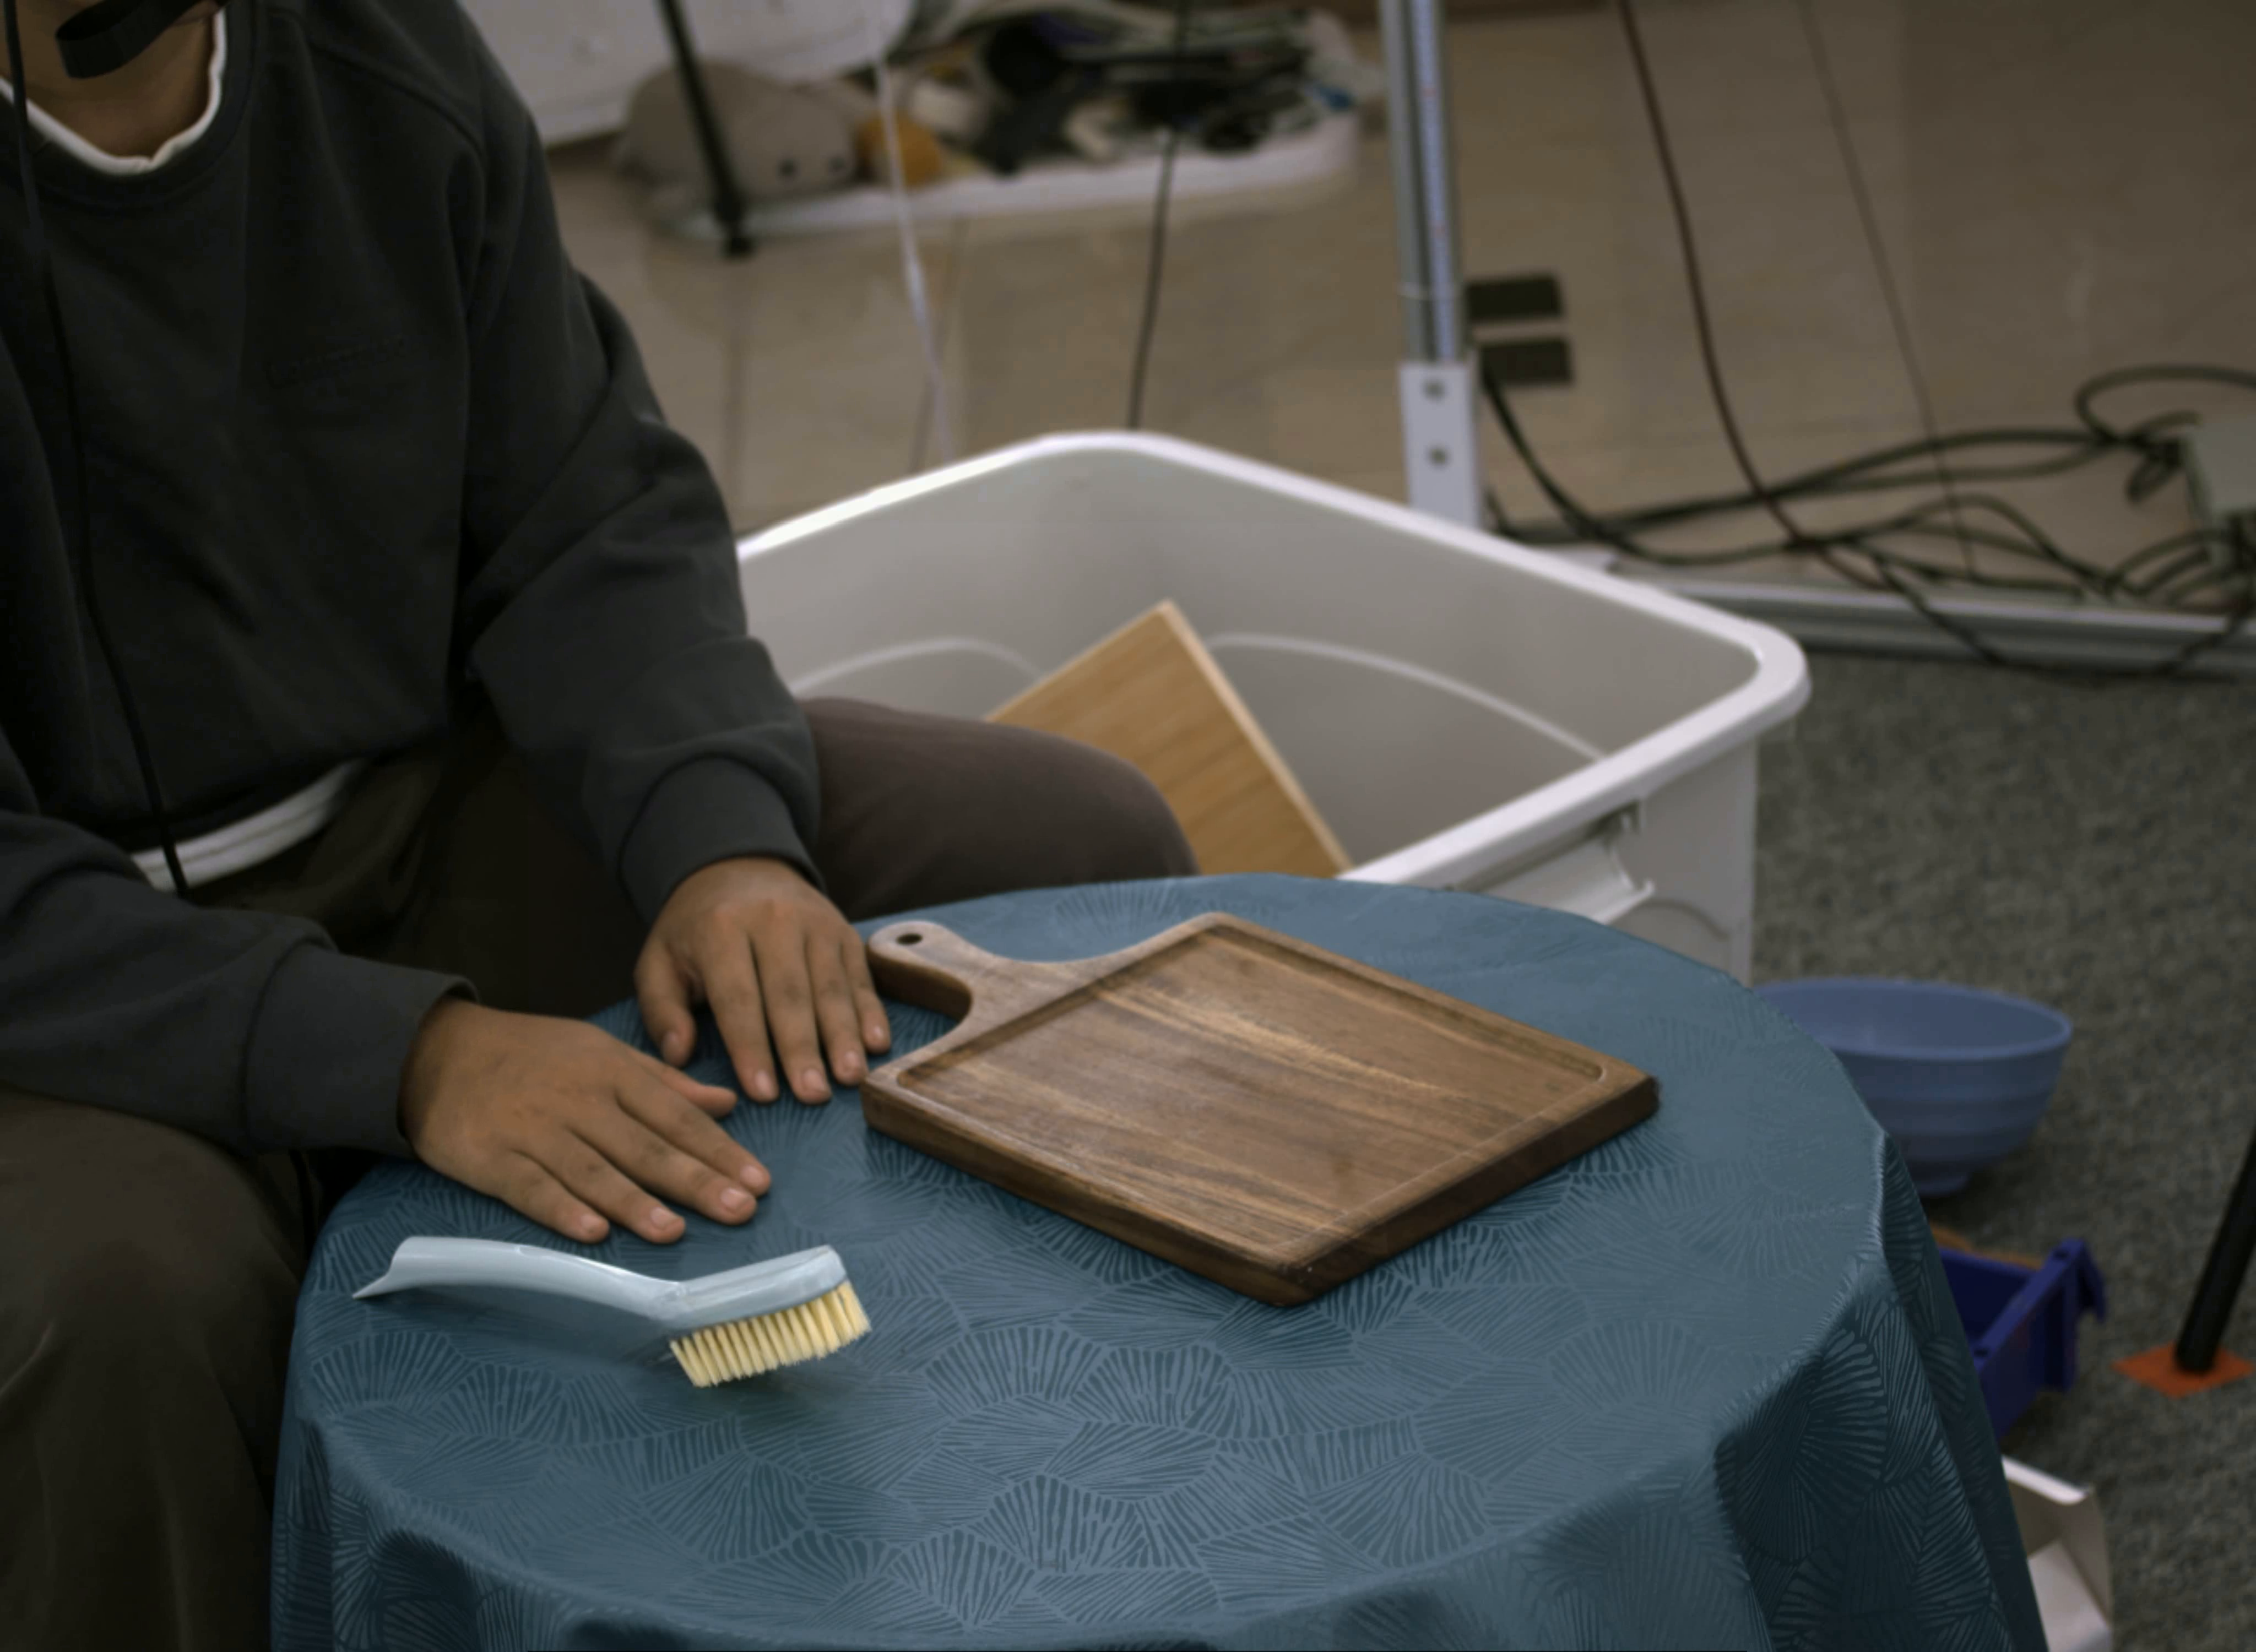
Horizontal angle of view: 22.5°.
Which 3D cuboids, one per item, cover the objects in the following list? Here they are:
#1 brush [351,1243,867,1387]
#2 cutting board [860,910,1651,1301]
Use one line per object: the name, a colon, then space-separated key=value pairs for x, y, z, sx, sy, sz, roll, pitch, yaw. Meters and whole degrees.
brush: x=-0.193 y=0.177 z=2.076 sx=0.228 sy=0.050 sz=0.037 roll=-1 pitch=18 yaw=32
cutting board: x=0.015 y=0.091 z=2.224 sx=0.199 sy=0.023 sz=0.349 roll=-25 pitch=30 yaw=-35
